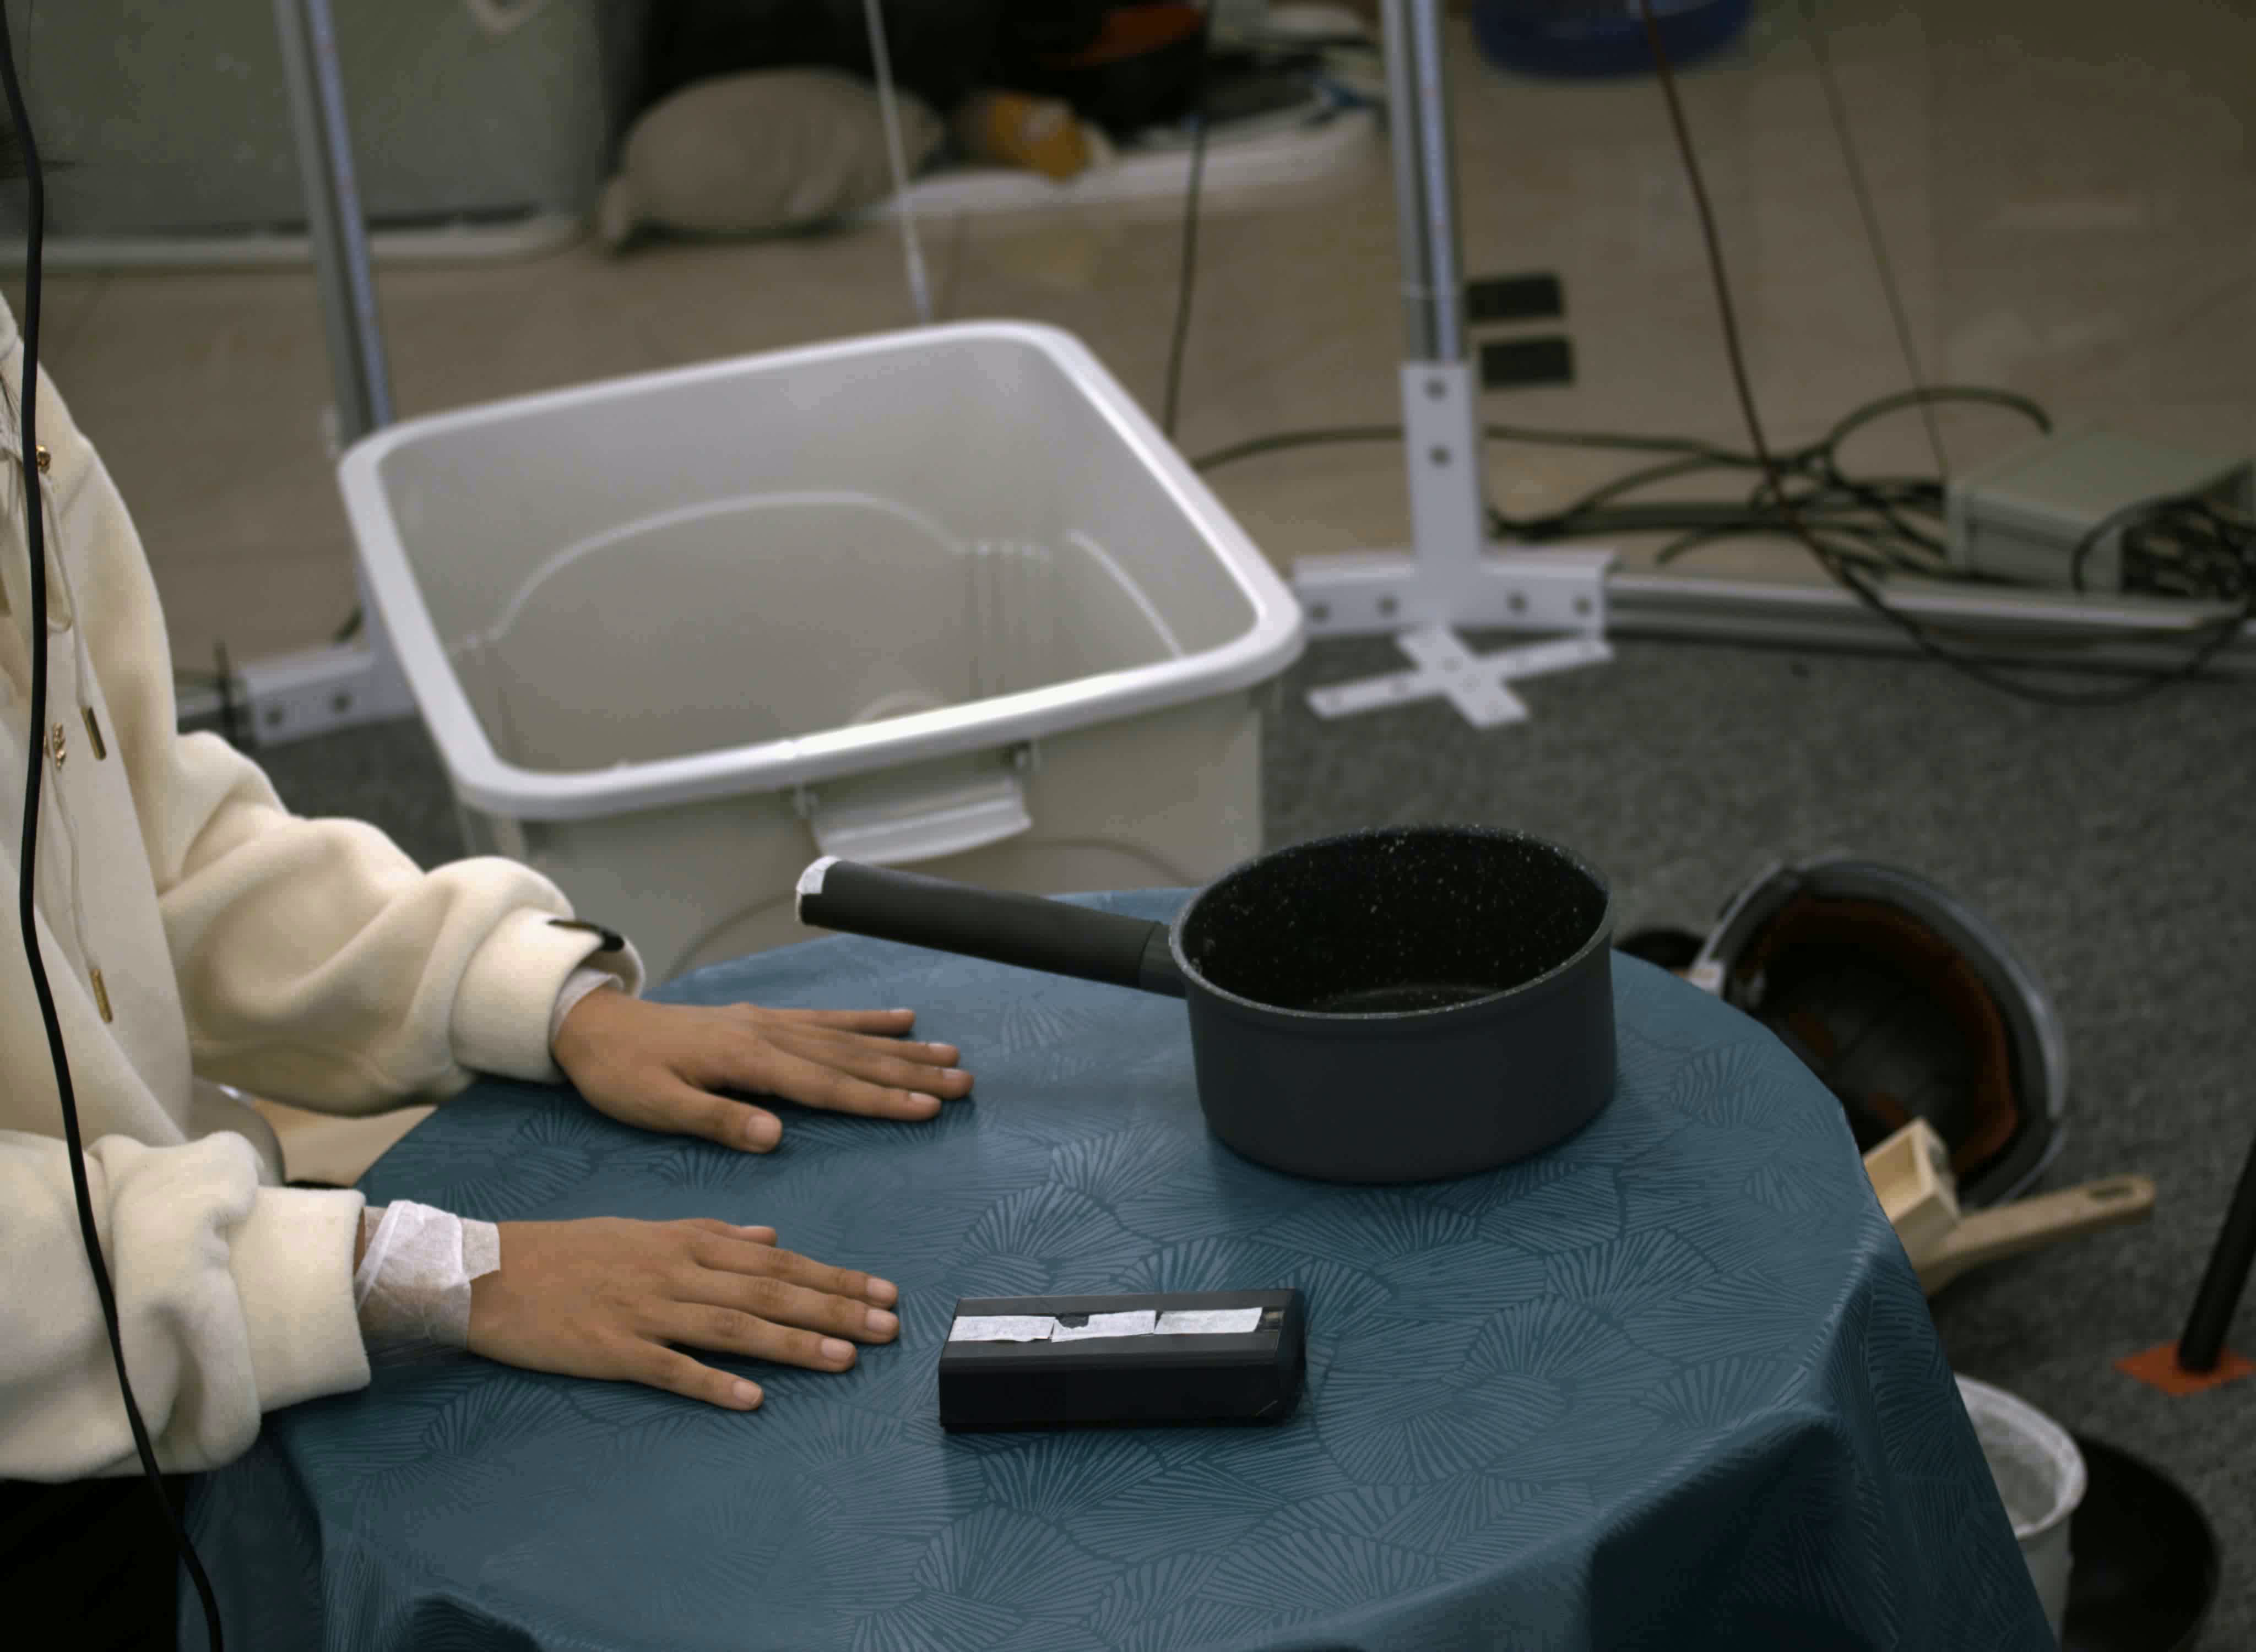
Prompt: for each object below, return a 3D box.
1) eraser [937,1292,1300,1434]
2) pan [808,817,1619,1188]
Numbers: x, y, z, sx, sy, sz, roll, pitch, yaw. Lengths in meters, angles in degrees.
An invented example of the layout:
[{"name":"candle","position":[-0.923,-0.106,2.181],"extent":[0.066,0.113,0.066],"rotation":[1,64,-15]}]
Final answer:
[{"name":"eraser","position":[-0.002,0.190,2.008],"extent":[0.125,0.031,0.053],"rotation":[-3,24,11]},{"name":"pan","position":[0.031,0.061,2.207],"extent":[0.328,0.088,0.170],"rotation":[5,27,20]}]
